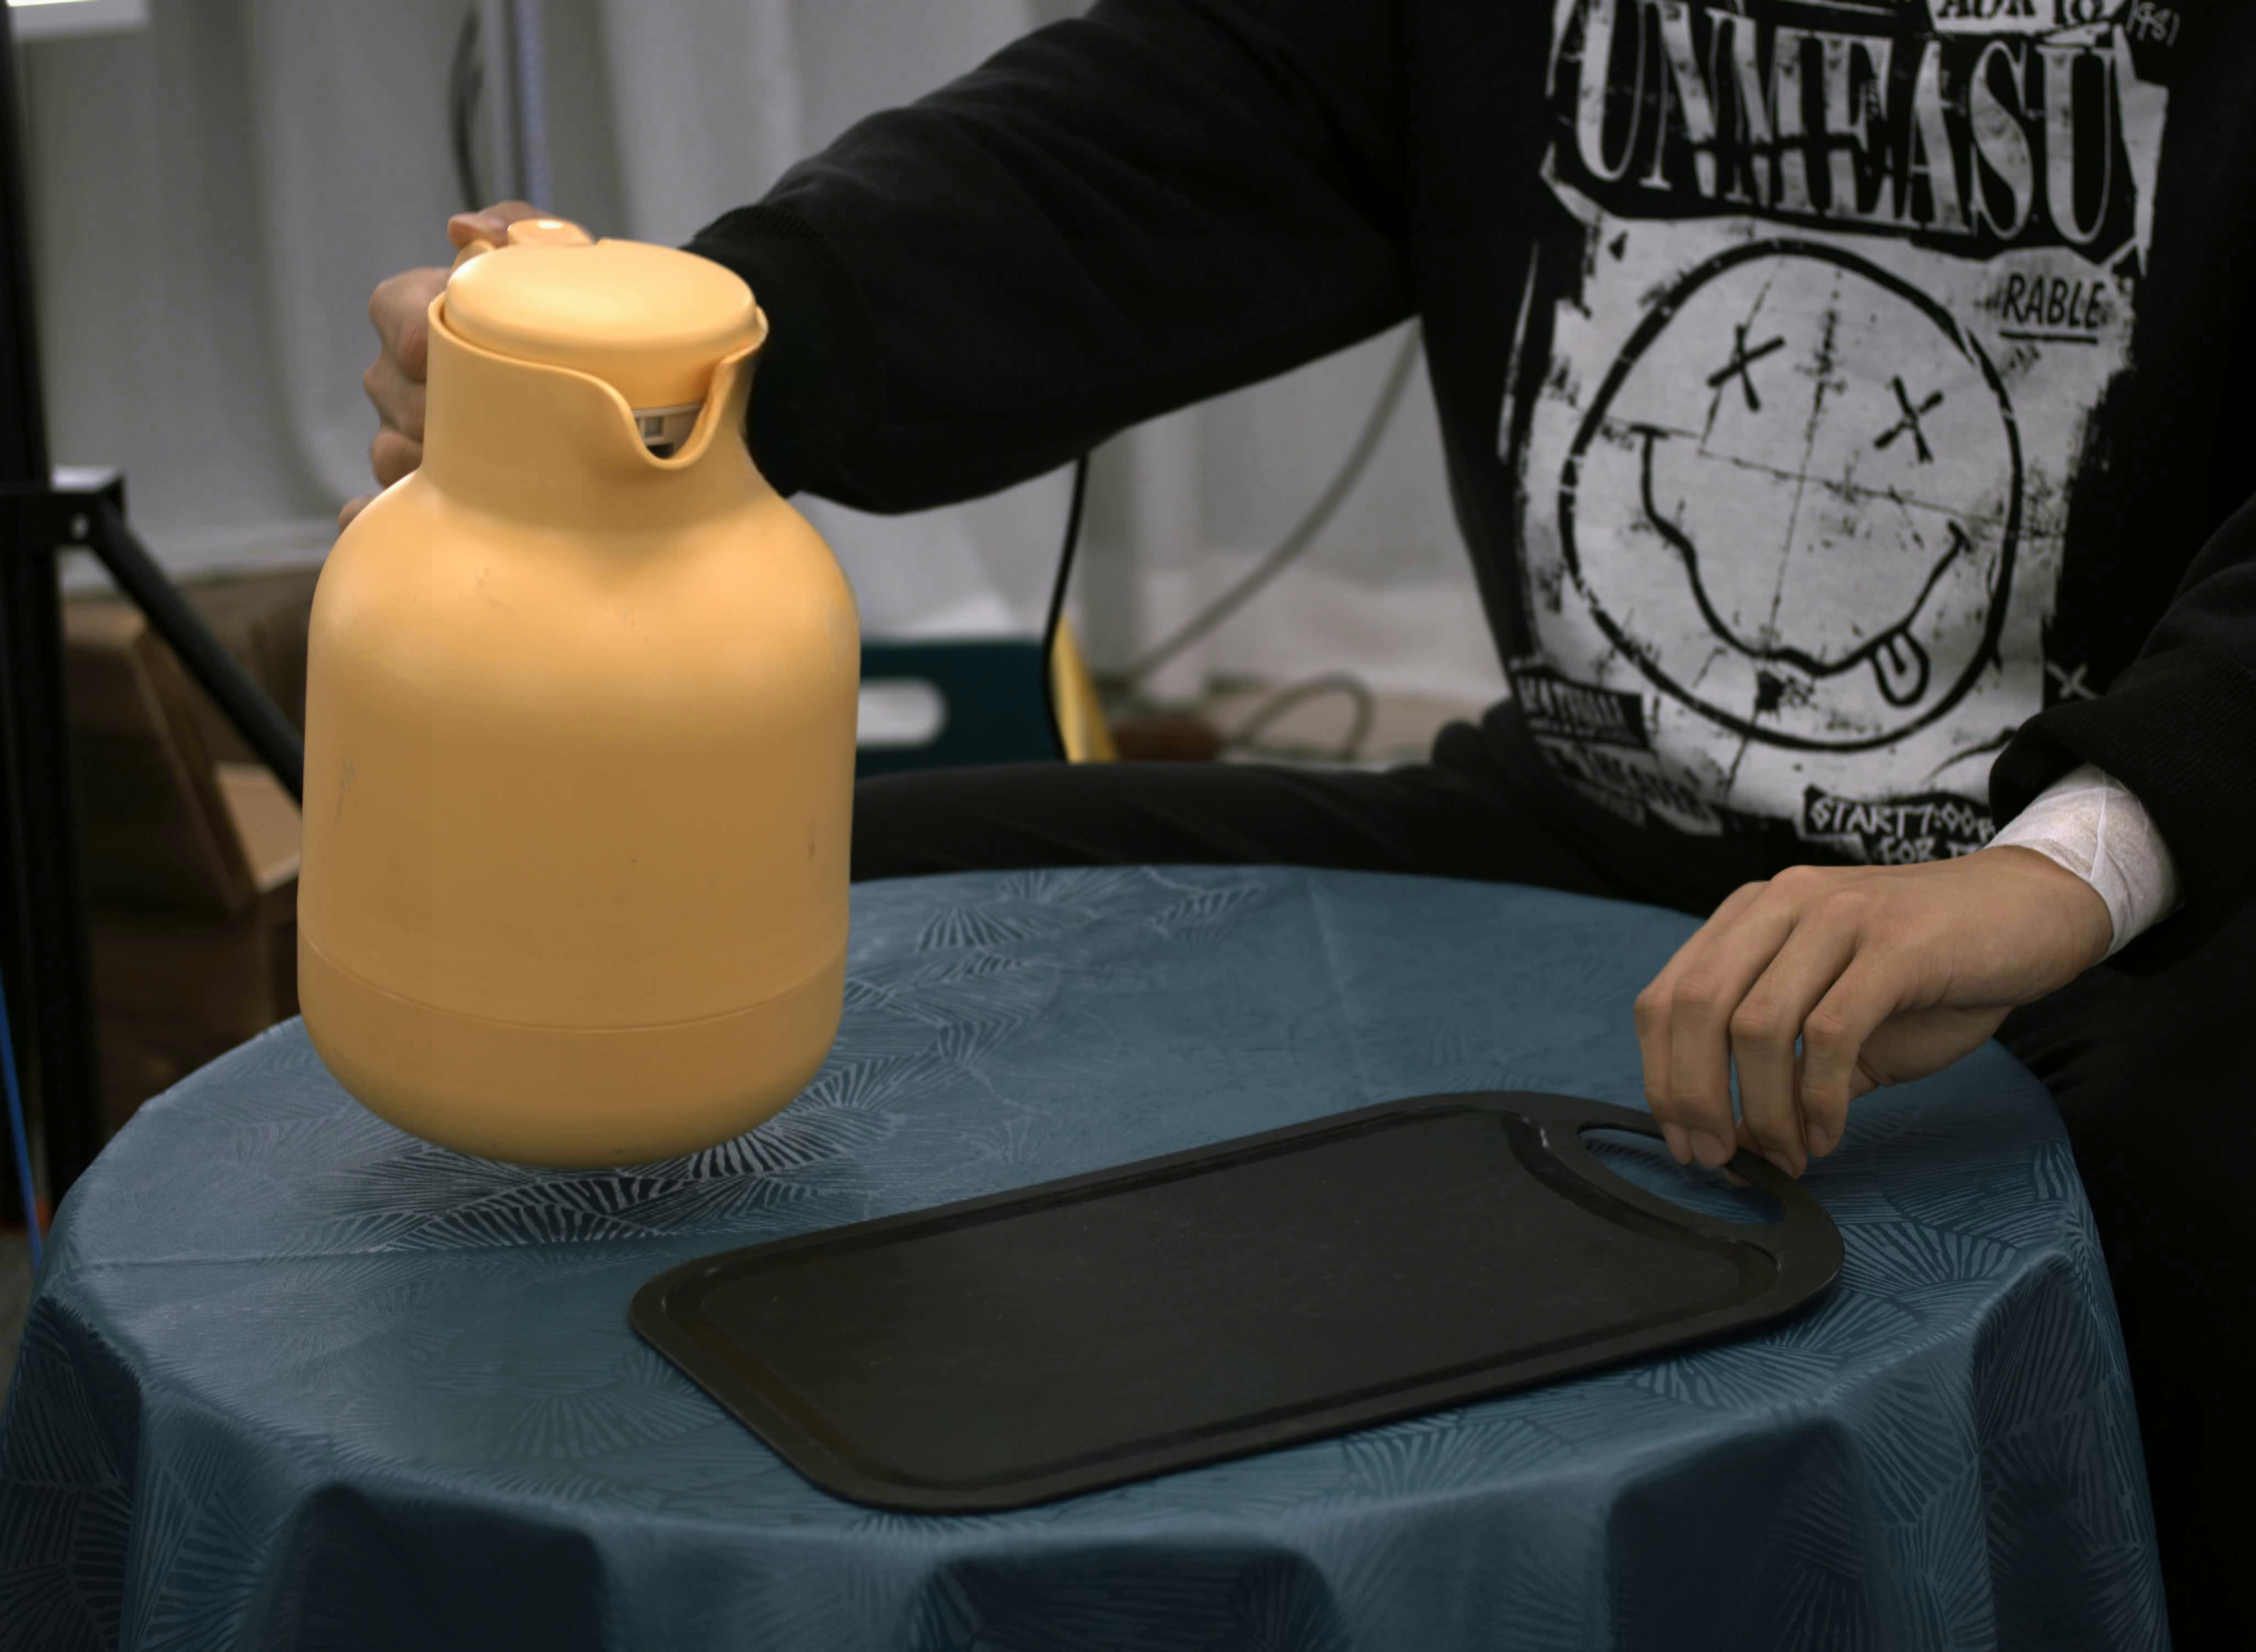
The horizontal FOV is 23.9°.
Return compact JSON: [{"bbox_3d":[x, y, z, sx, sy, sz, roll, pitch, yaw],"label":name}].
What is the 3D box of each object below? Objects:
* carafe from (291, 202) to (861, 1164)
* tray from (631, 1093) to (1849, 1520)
[{"bbox_3d":[-0.164,-0.050,1.573,0.160,0.260,0.206,-2,25,-20],"label":"carafe"},{"bbox_3d":[0.037,0.125,1.467,0.319,0.010,0.215,-11,18,-22],"label":"tray"}]
